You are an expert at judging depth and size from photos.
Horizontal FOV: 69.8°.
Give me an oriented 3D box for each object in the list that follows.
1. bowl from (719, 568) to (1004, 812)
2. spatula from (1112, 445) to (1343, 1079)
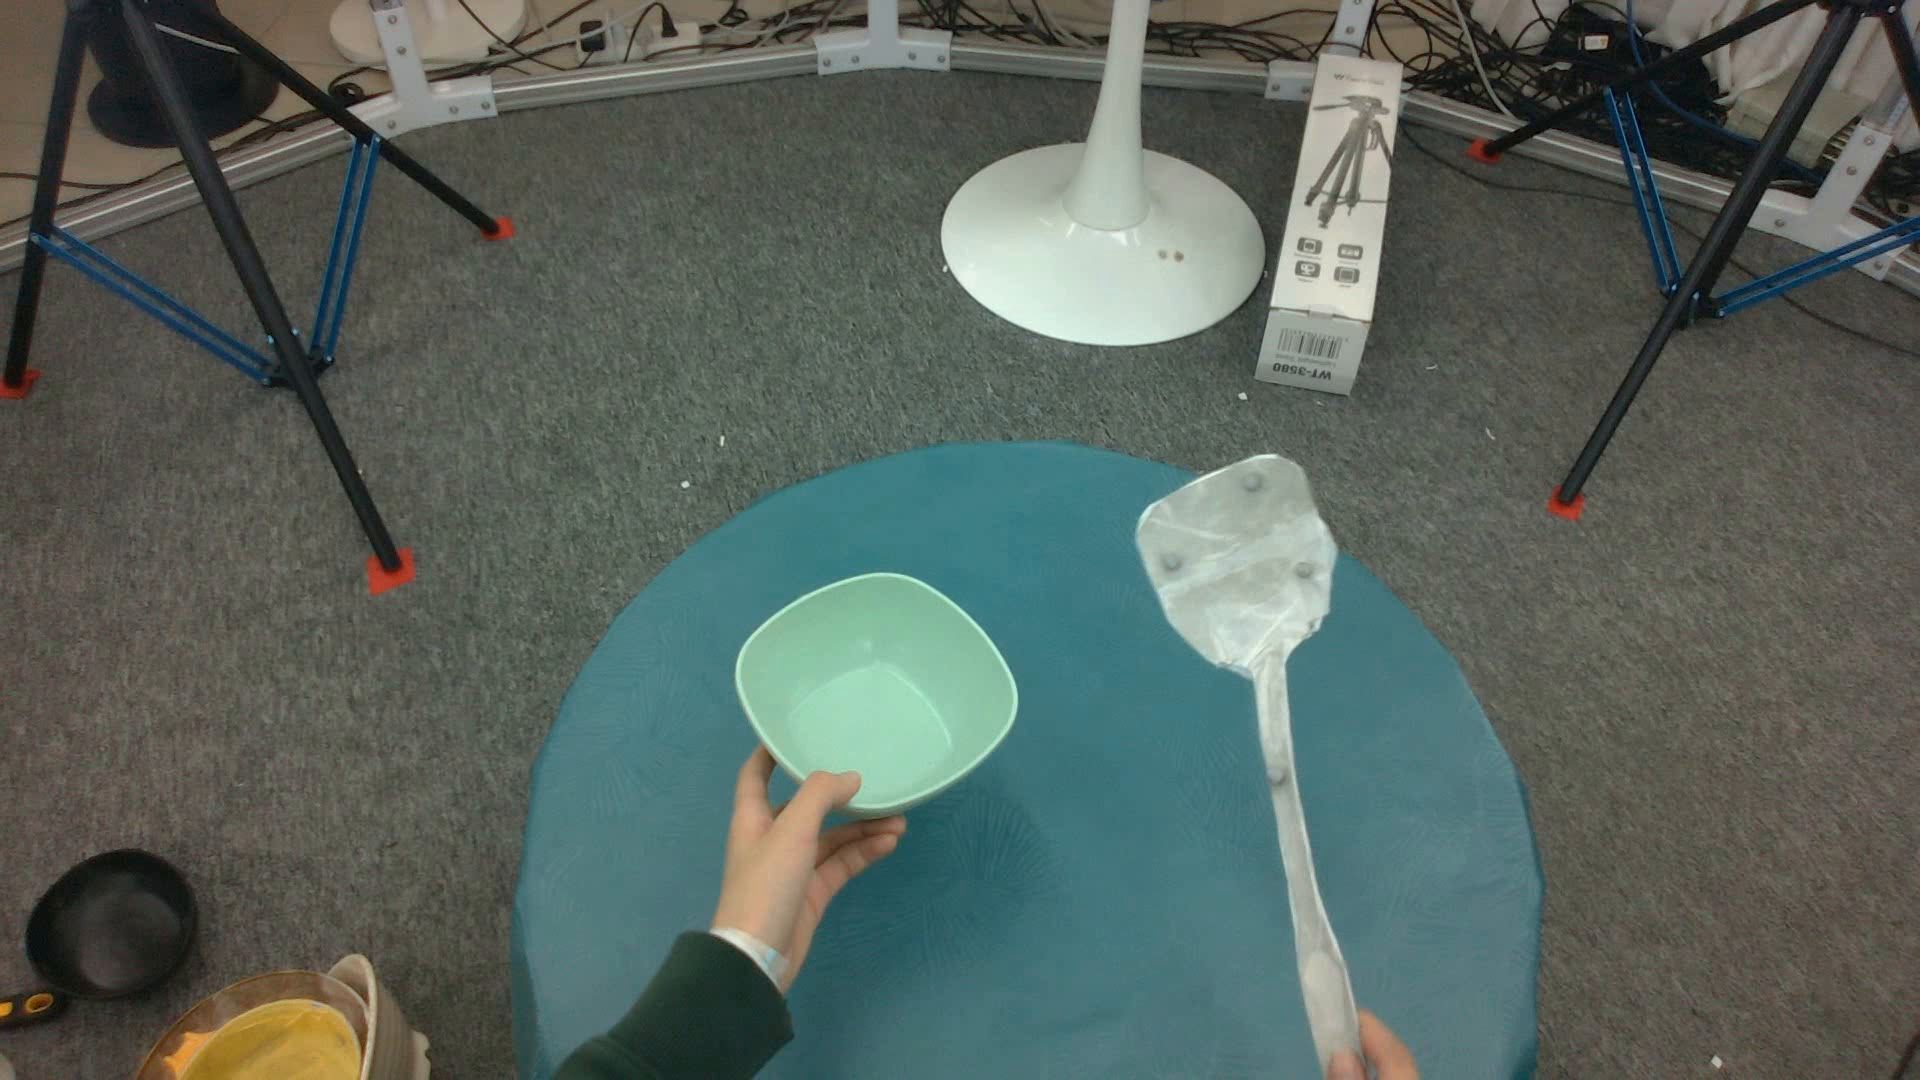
[{"bbox_3d":[-0.055,0.090,0.748,0.151,0.058,0.152,5,48,-5],"label":"bowl"},{"bbox_3d":[0.141,0.124,0.640,0.098,0.045,0.366,-23,56,29],"label":"spatula"}]
